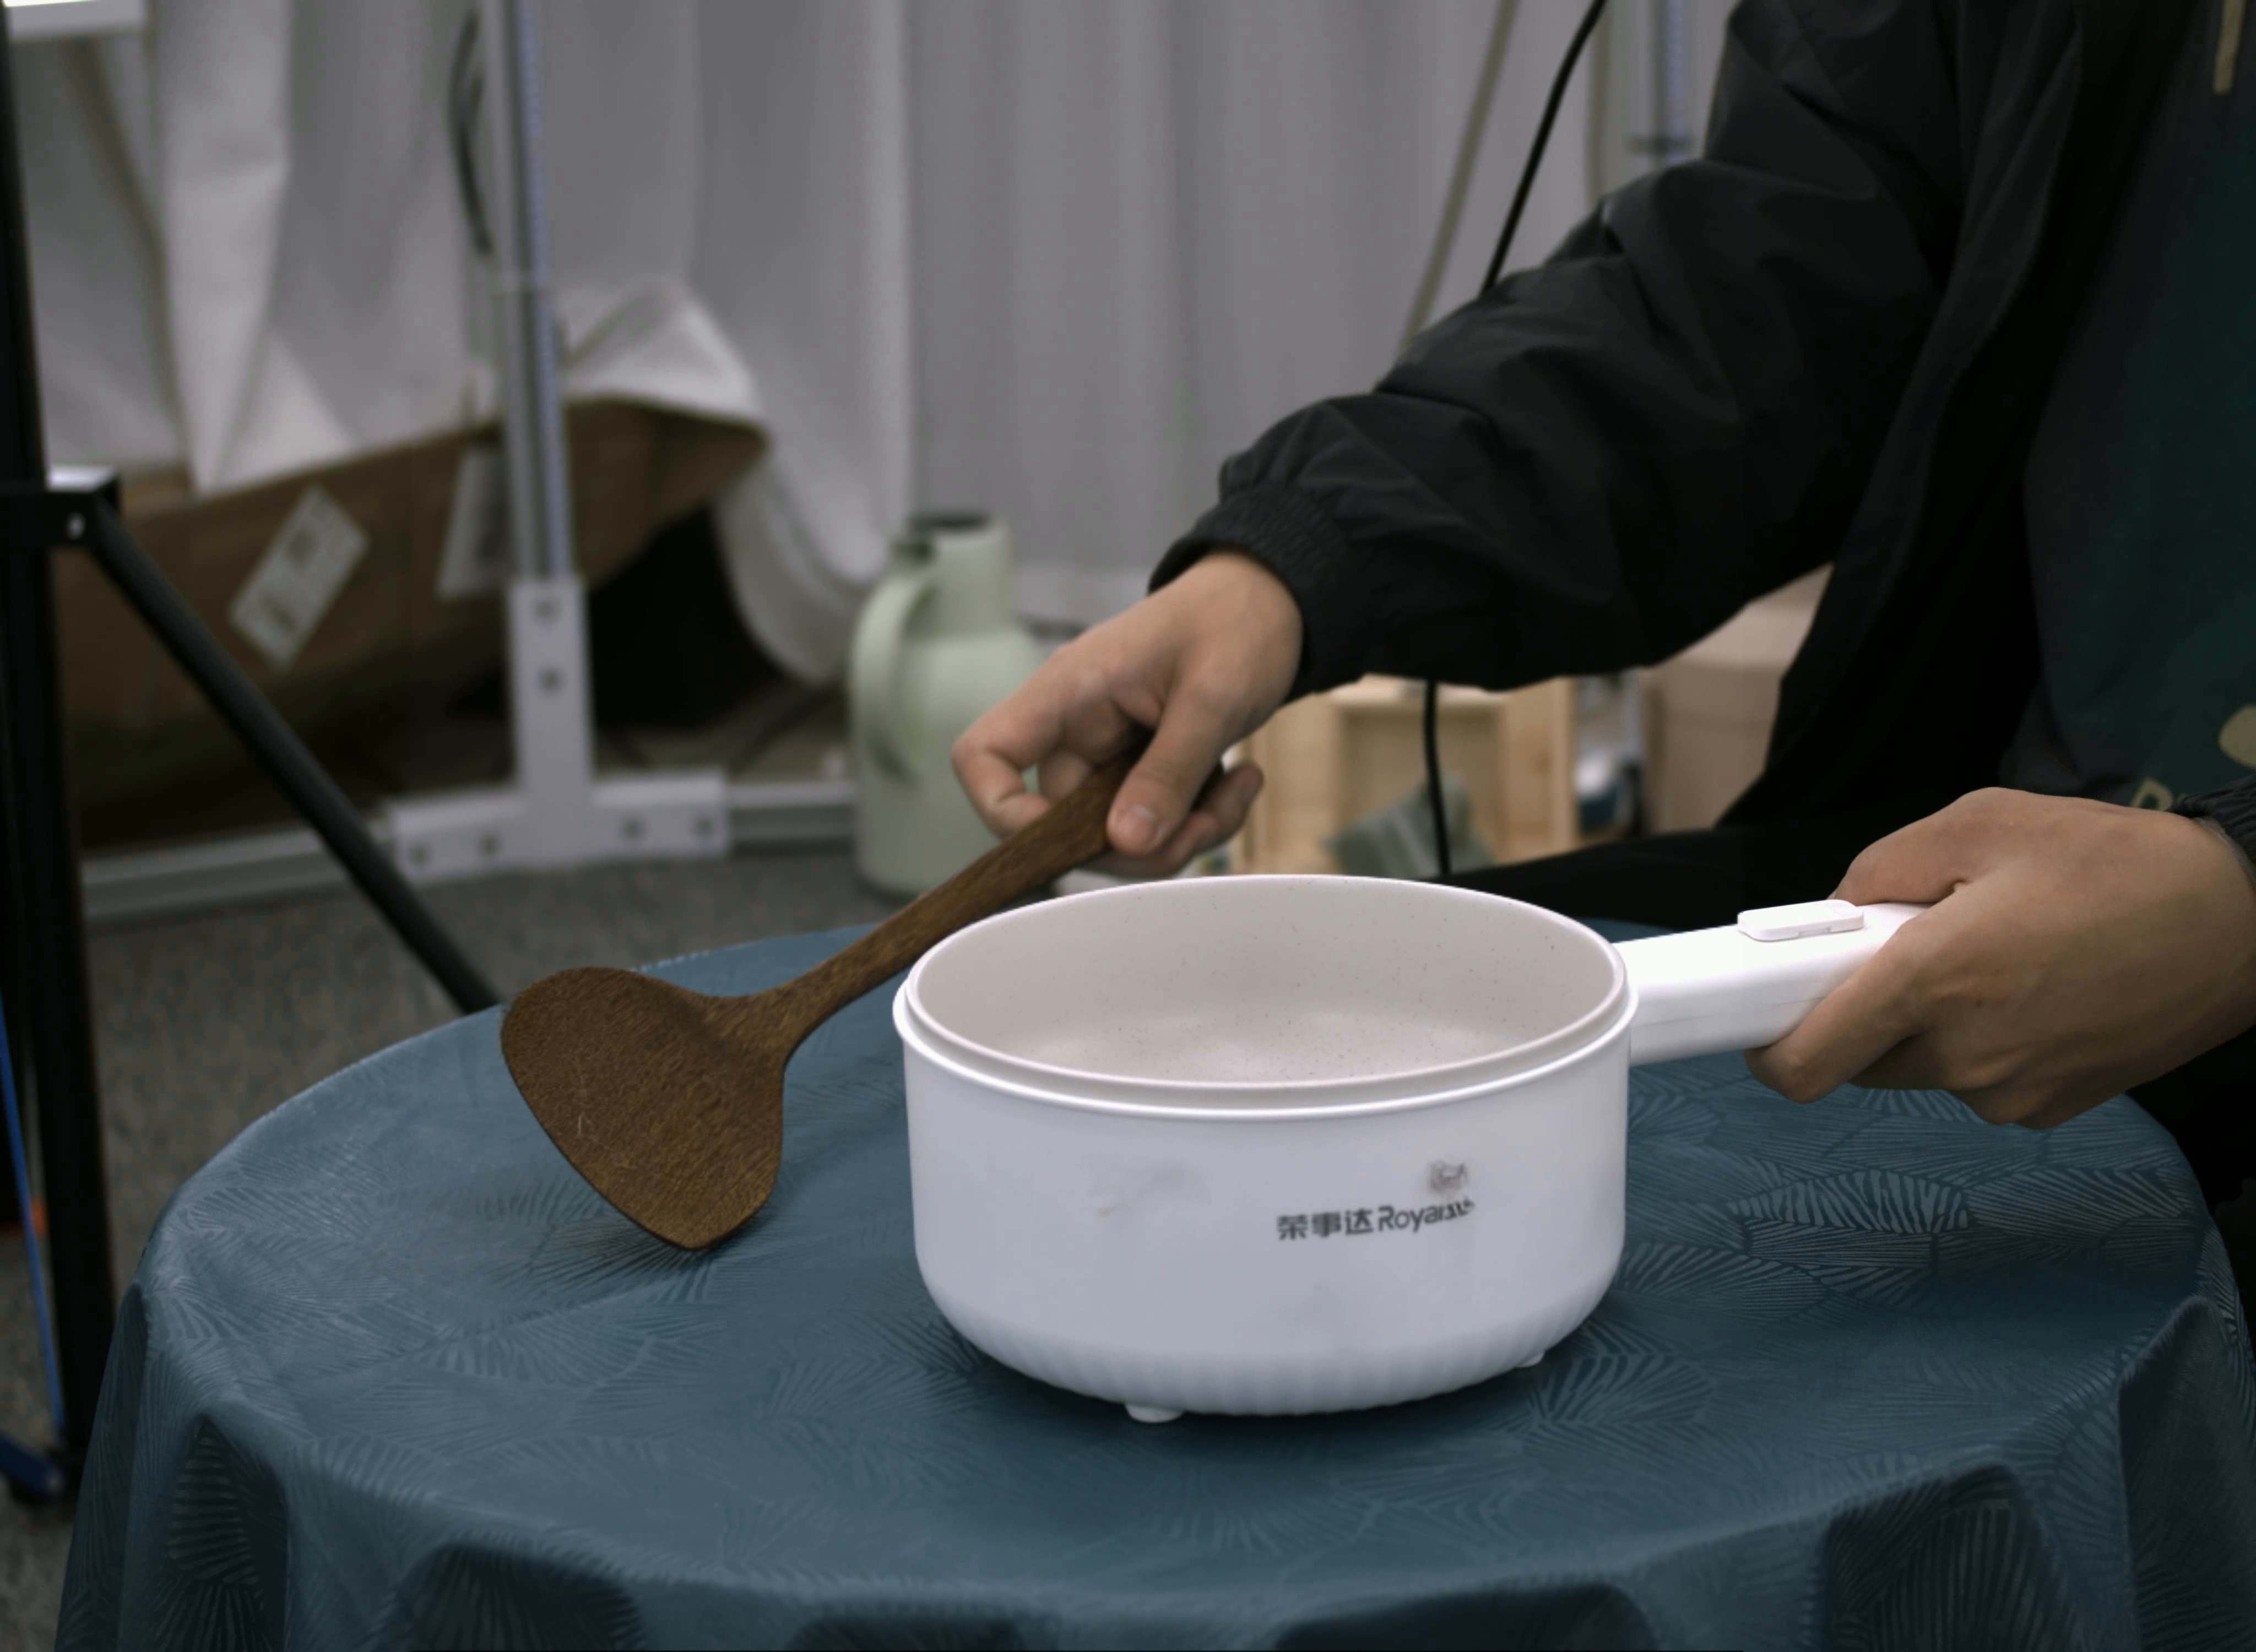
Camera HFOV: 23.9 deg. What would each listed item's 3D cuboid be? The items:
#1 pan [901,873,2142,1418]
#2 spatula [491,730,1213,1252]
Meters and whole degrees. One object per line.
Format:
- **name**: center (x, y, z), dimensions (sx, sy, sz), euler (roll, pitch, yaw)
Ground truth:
- **pan**: center (0.112, 0.082, 1.458), dimensions (0.349, 0.102, 0.204), euler (-5, 15, -16)
- **spatula**: center (-0.069, 0.034, 1.666), dimensions (0.016, 0.097, 0.379), euler (-45, -8, 36)
